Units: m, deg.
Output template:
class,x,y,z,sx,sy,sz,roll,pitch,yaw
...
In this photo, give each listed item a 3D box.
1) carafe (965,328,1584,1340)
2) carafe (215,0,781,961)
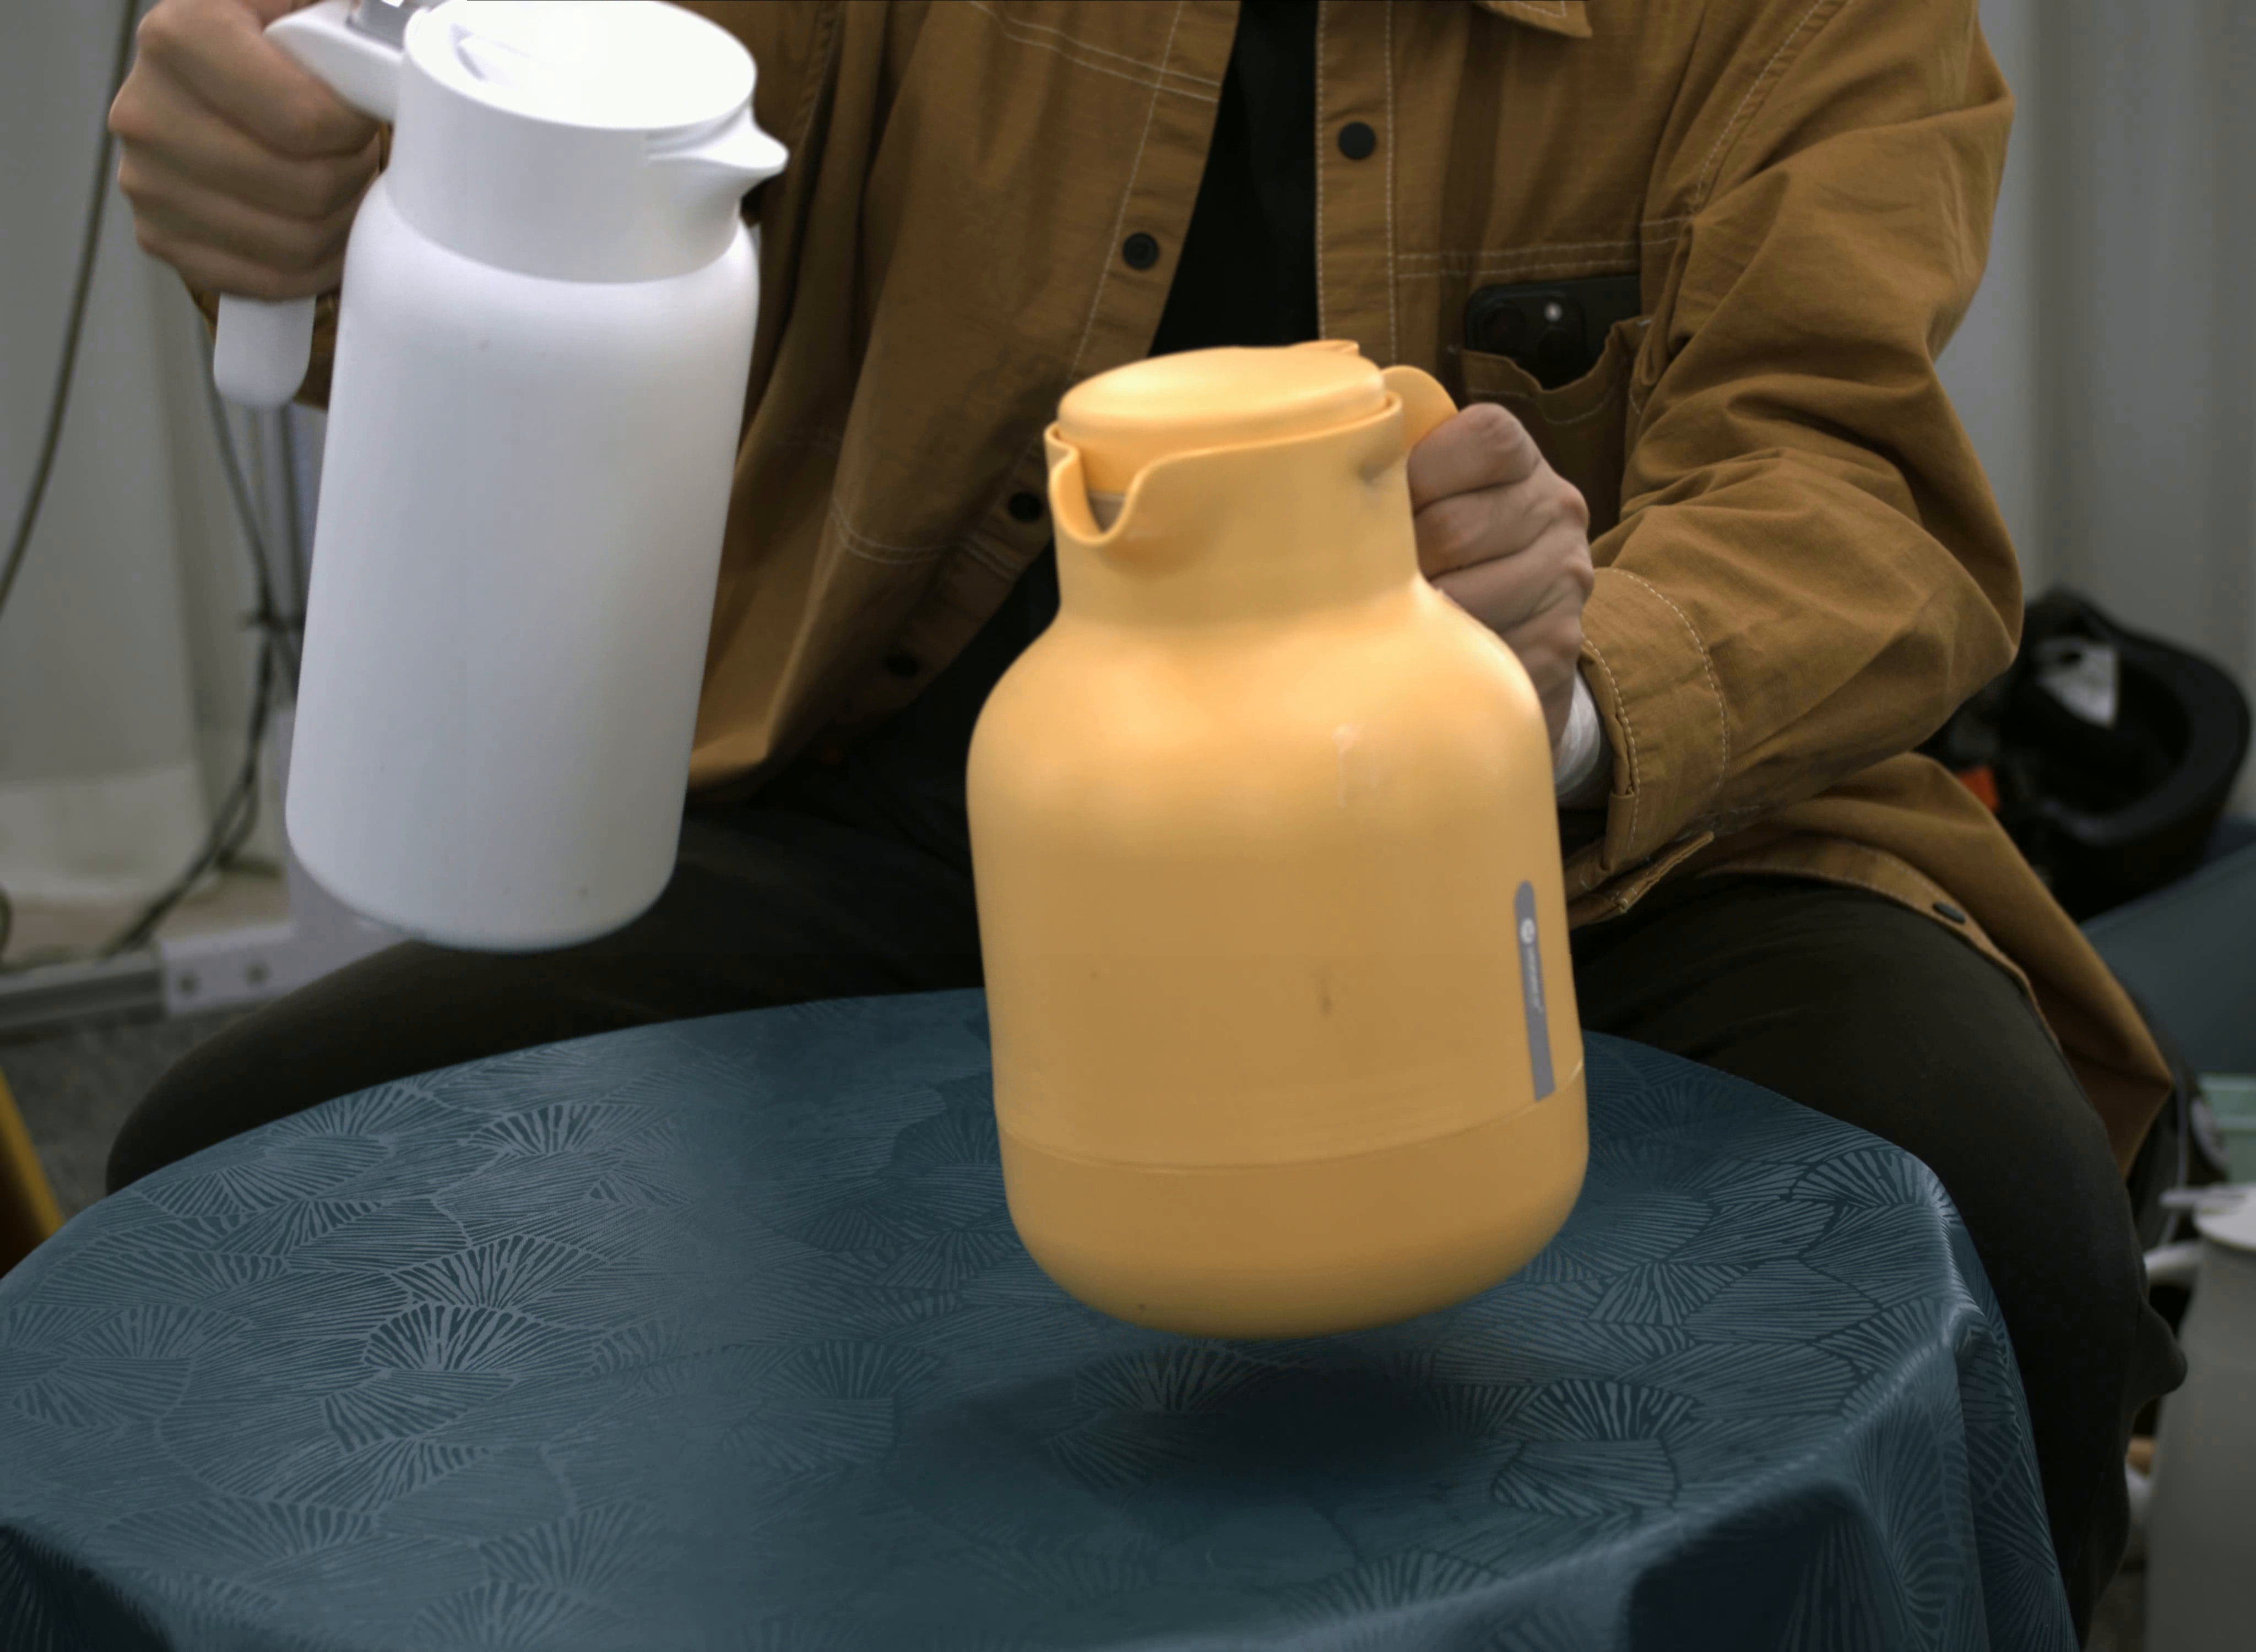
class,x,y,z,sx,sy,sz,roll,pitch,yaw
carafe,0.048,-0.006,1.506,0.164,0.259,0.202,6,19,33
carafe,-0.189,-0.106,1.585,0.173,0.266,0.124,22,33,22
